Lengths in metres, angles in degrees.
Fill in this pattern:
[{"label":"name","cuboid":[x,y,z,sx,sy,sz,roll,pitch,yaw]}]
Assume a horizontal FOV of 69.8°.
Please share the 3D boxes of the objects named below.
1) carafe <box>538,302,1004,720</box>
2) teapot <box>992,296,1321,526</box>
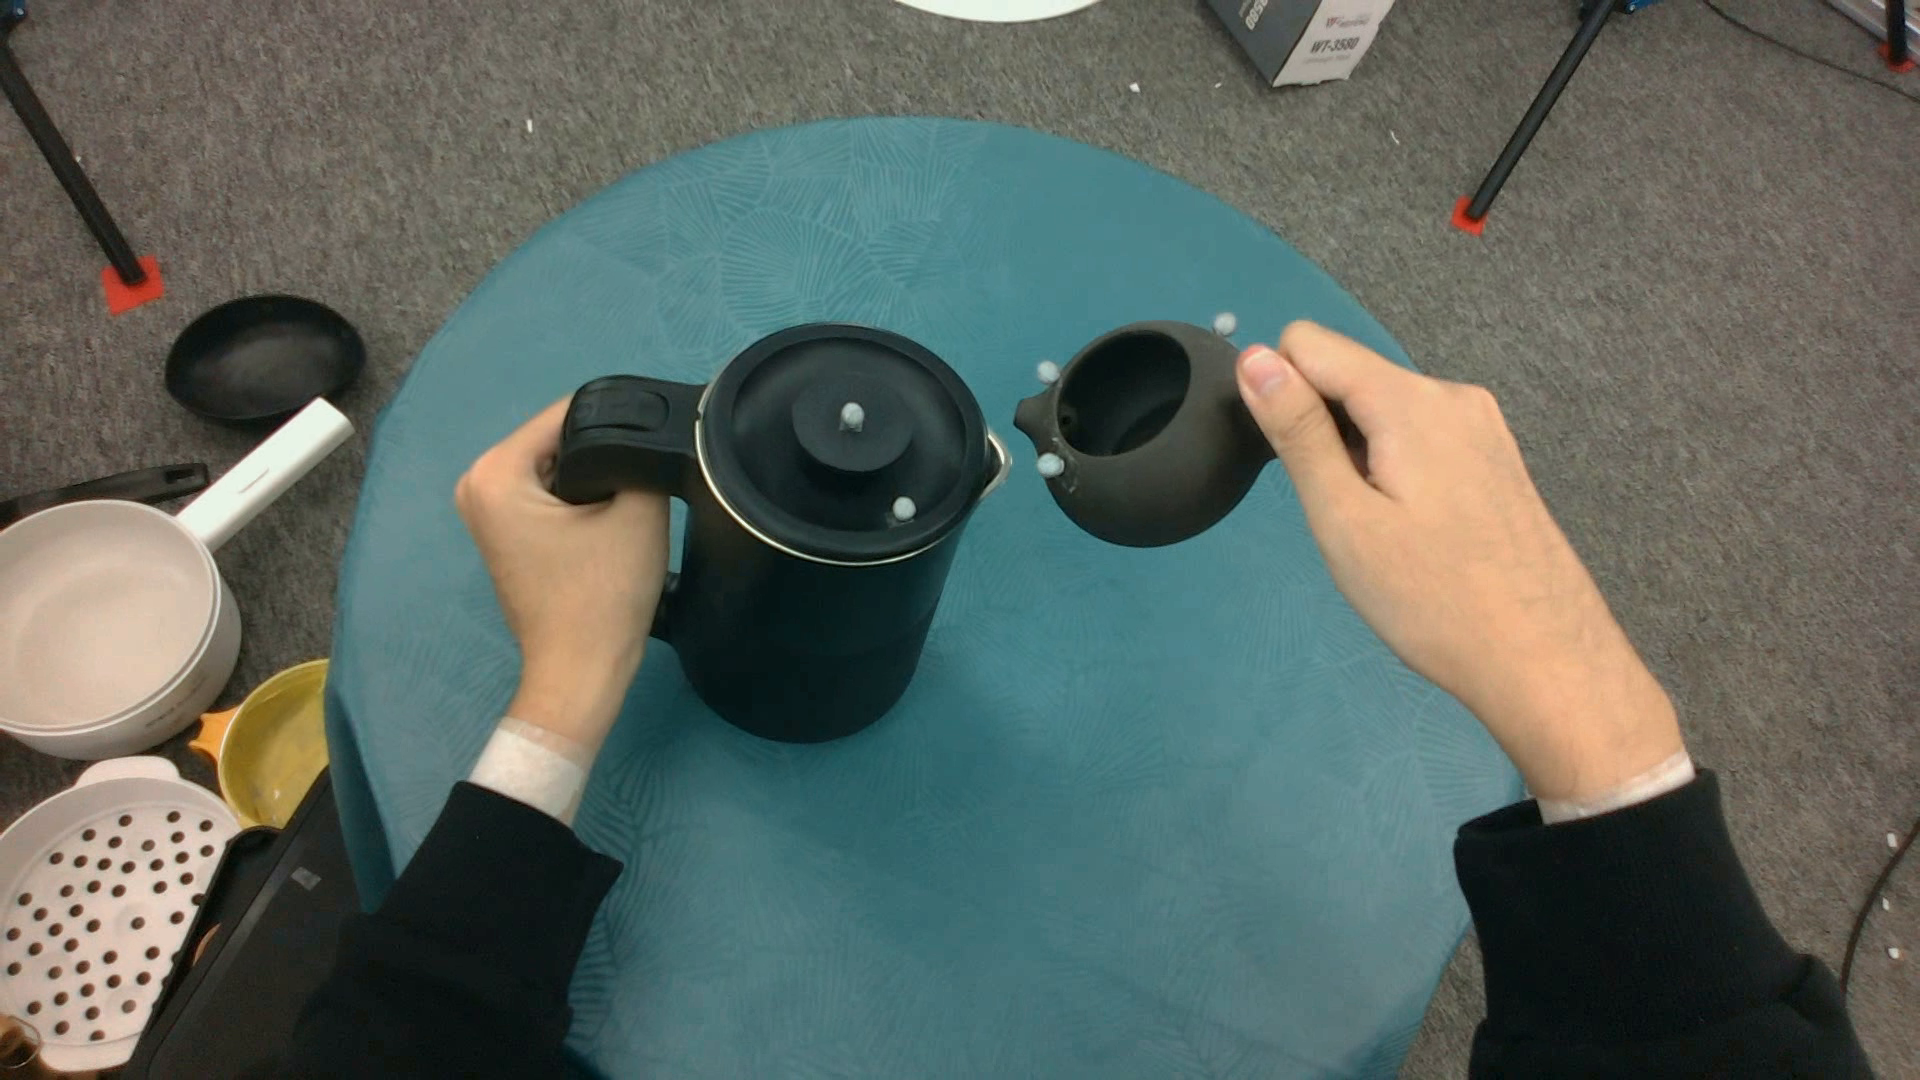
[{"label":"carafe","cuboid":[-0.084,-0.012,0.565,0.172,0.172,0.115,8,60,-12]},{"label":"teapot","cuboid":[0.068,-0.046,0.472,0.114,0.053,0.083,1,64,39]}]
